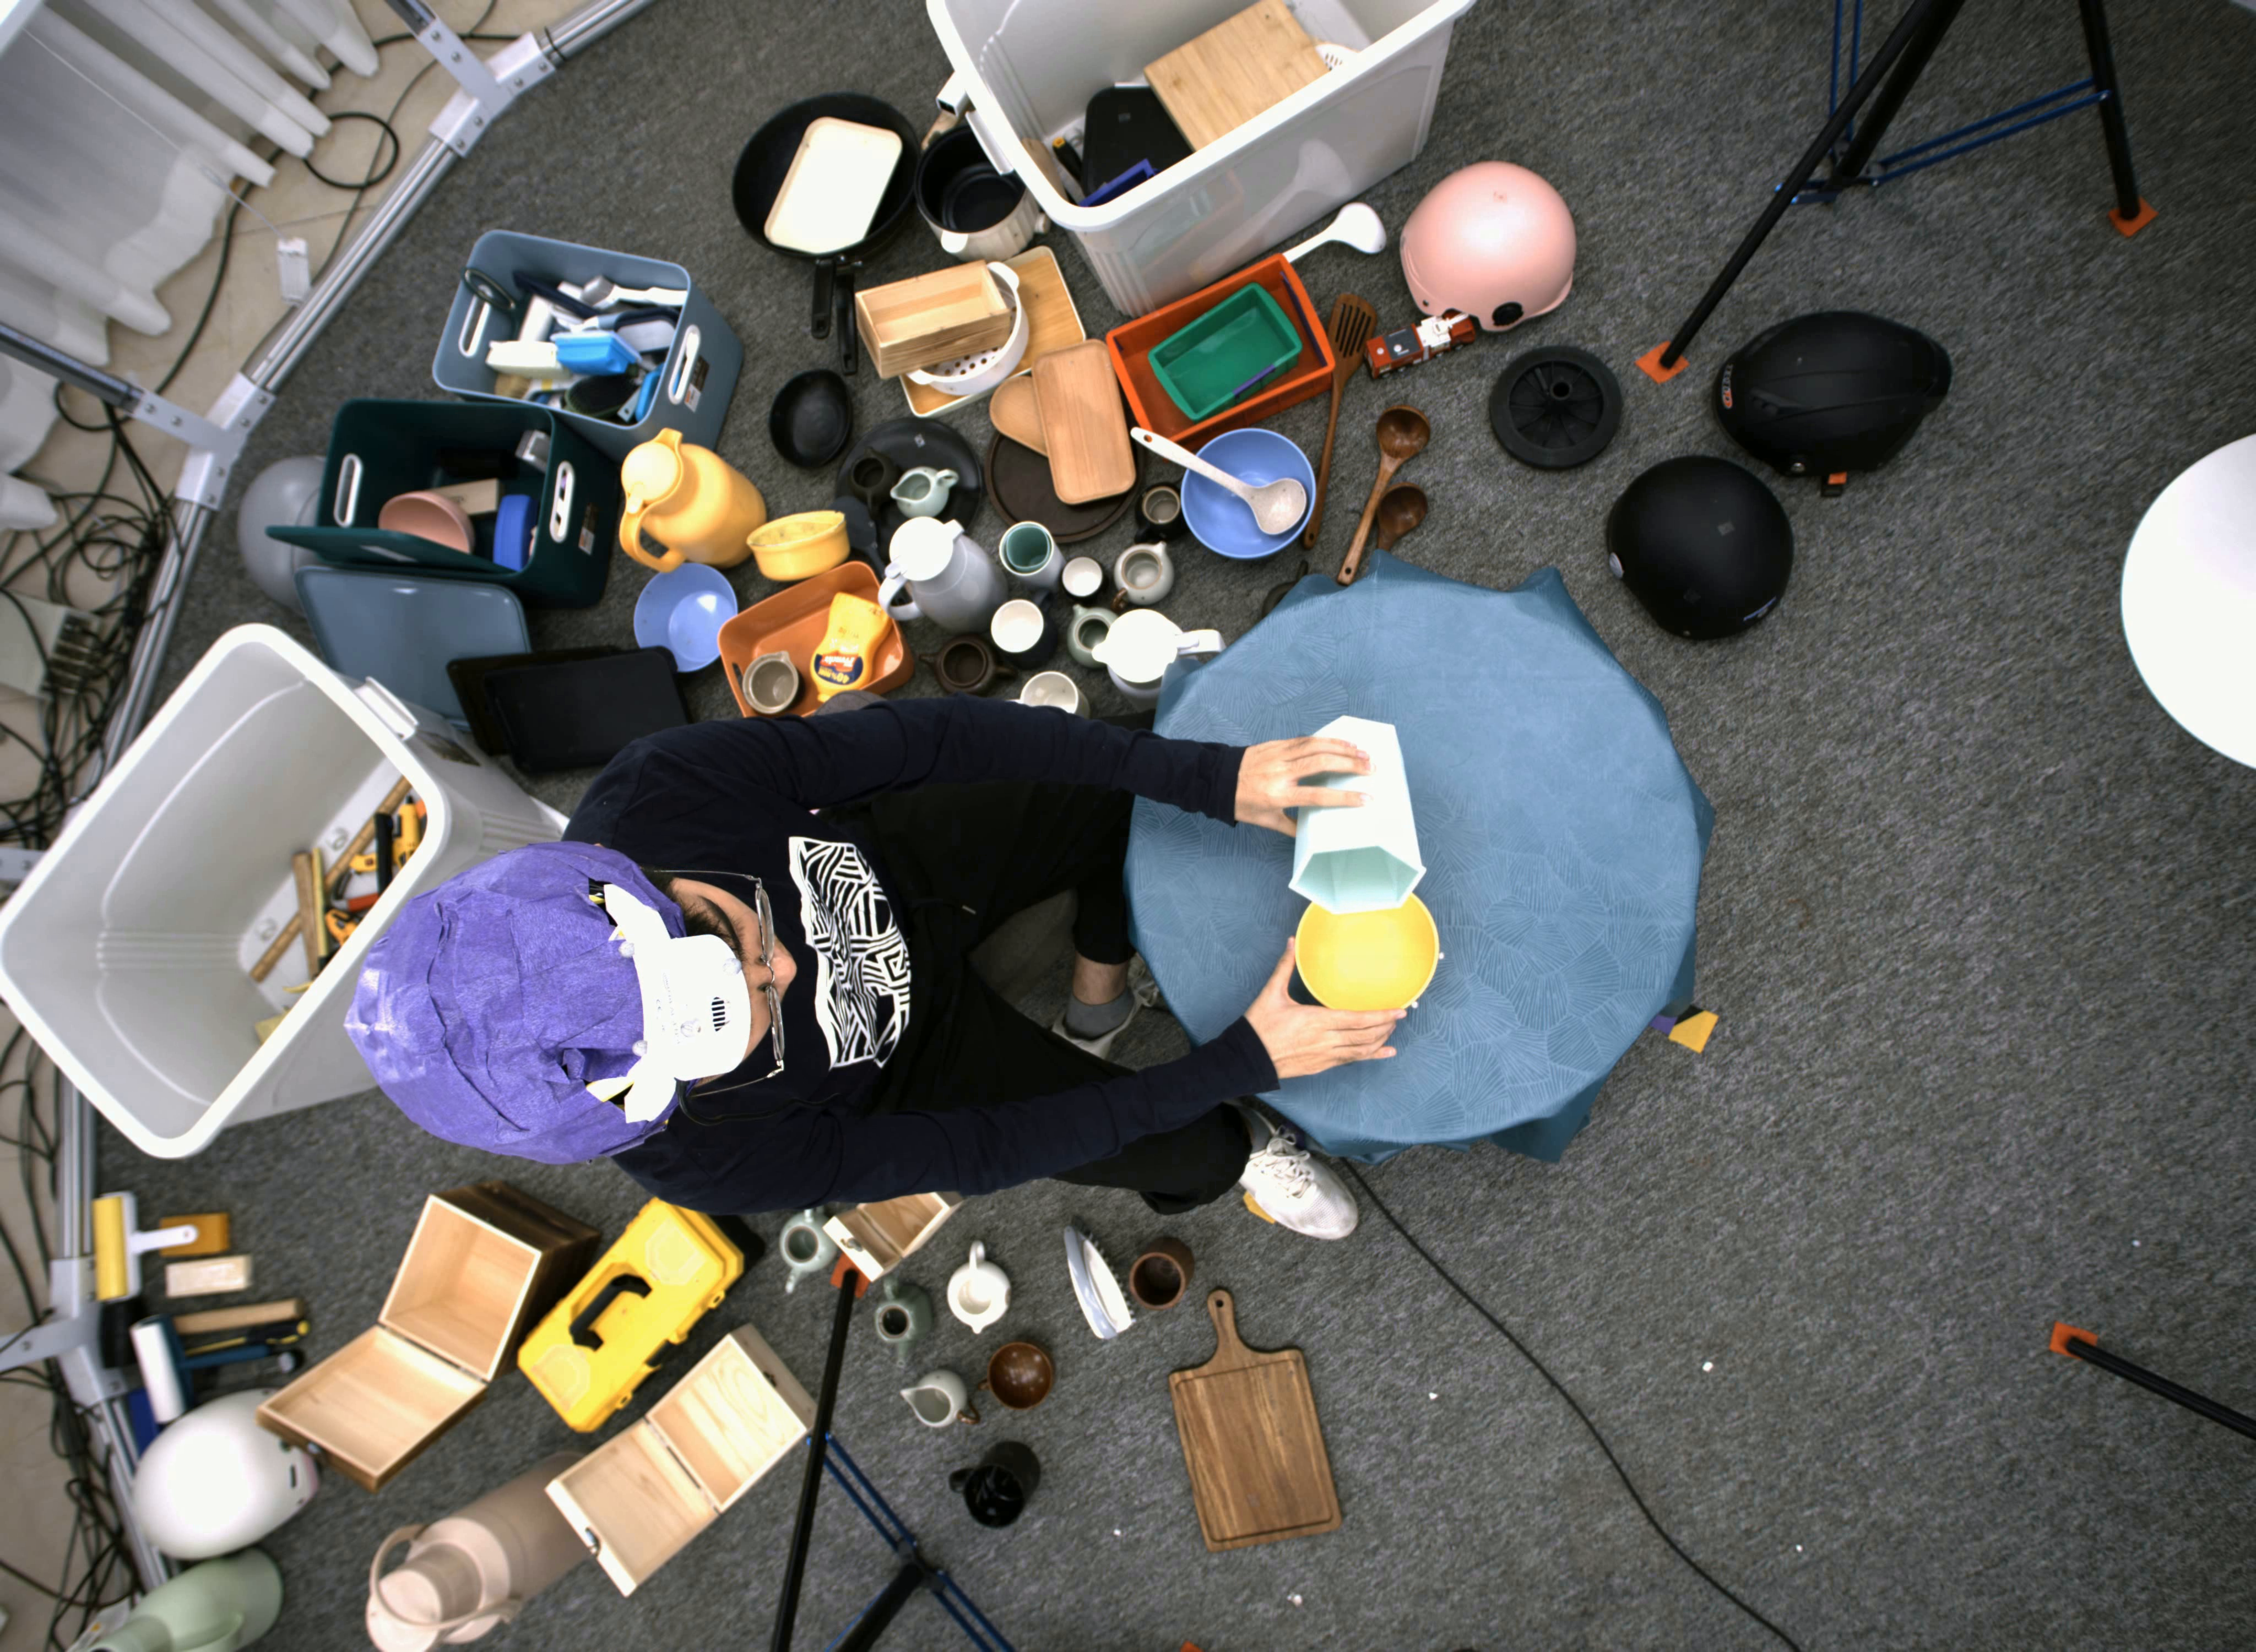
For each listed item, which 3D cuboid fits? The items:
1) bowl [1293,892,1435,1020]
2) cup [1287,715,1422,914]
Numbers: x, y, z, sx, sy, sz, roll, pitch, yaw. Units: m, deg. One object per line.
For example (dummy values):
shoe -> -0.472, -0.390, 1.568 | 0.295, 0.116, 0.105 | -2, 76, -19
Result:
bowl -> 0.246, 0.127, 1.434 | 0.146, 0.060, 0.144 | -1, 85, 13
cup -> 0.221, -0.016, 1.347 | 0.115, 0.134, 0.159 | 10, 58, -5
